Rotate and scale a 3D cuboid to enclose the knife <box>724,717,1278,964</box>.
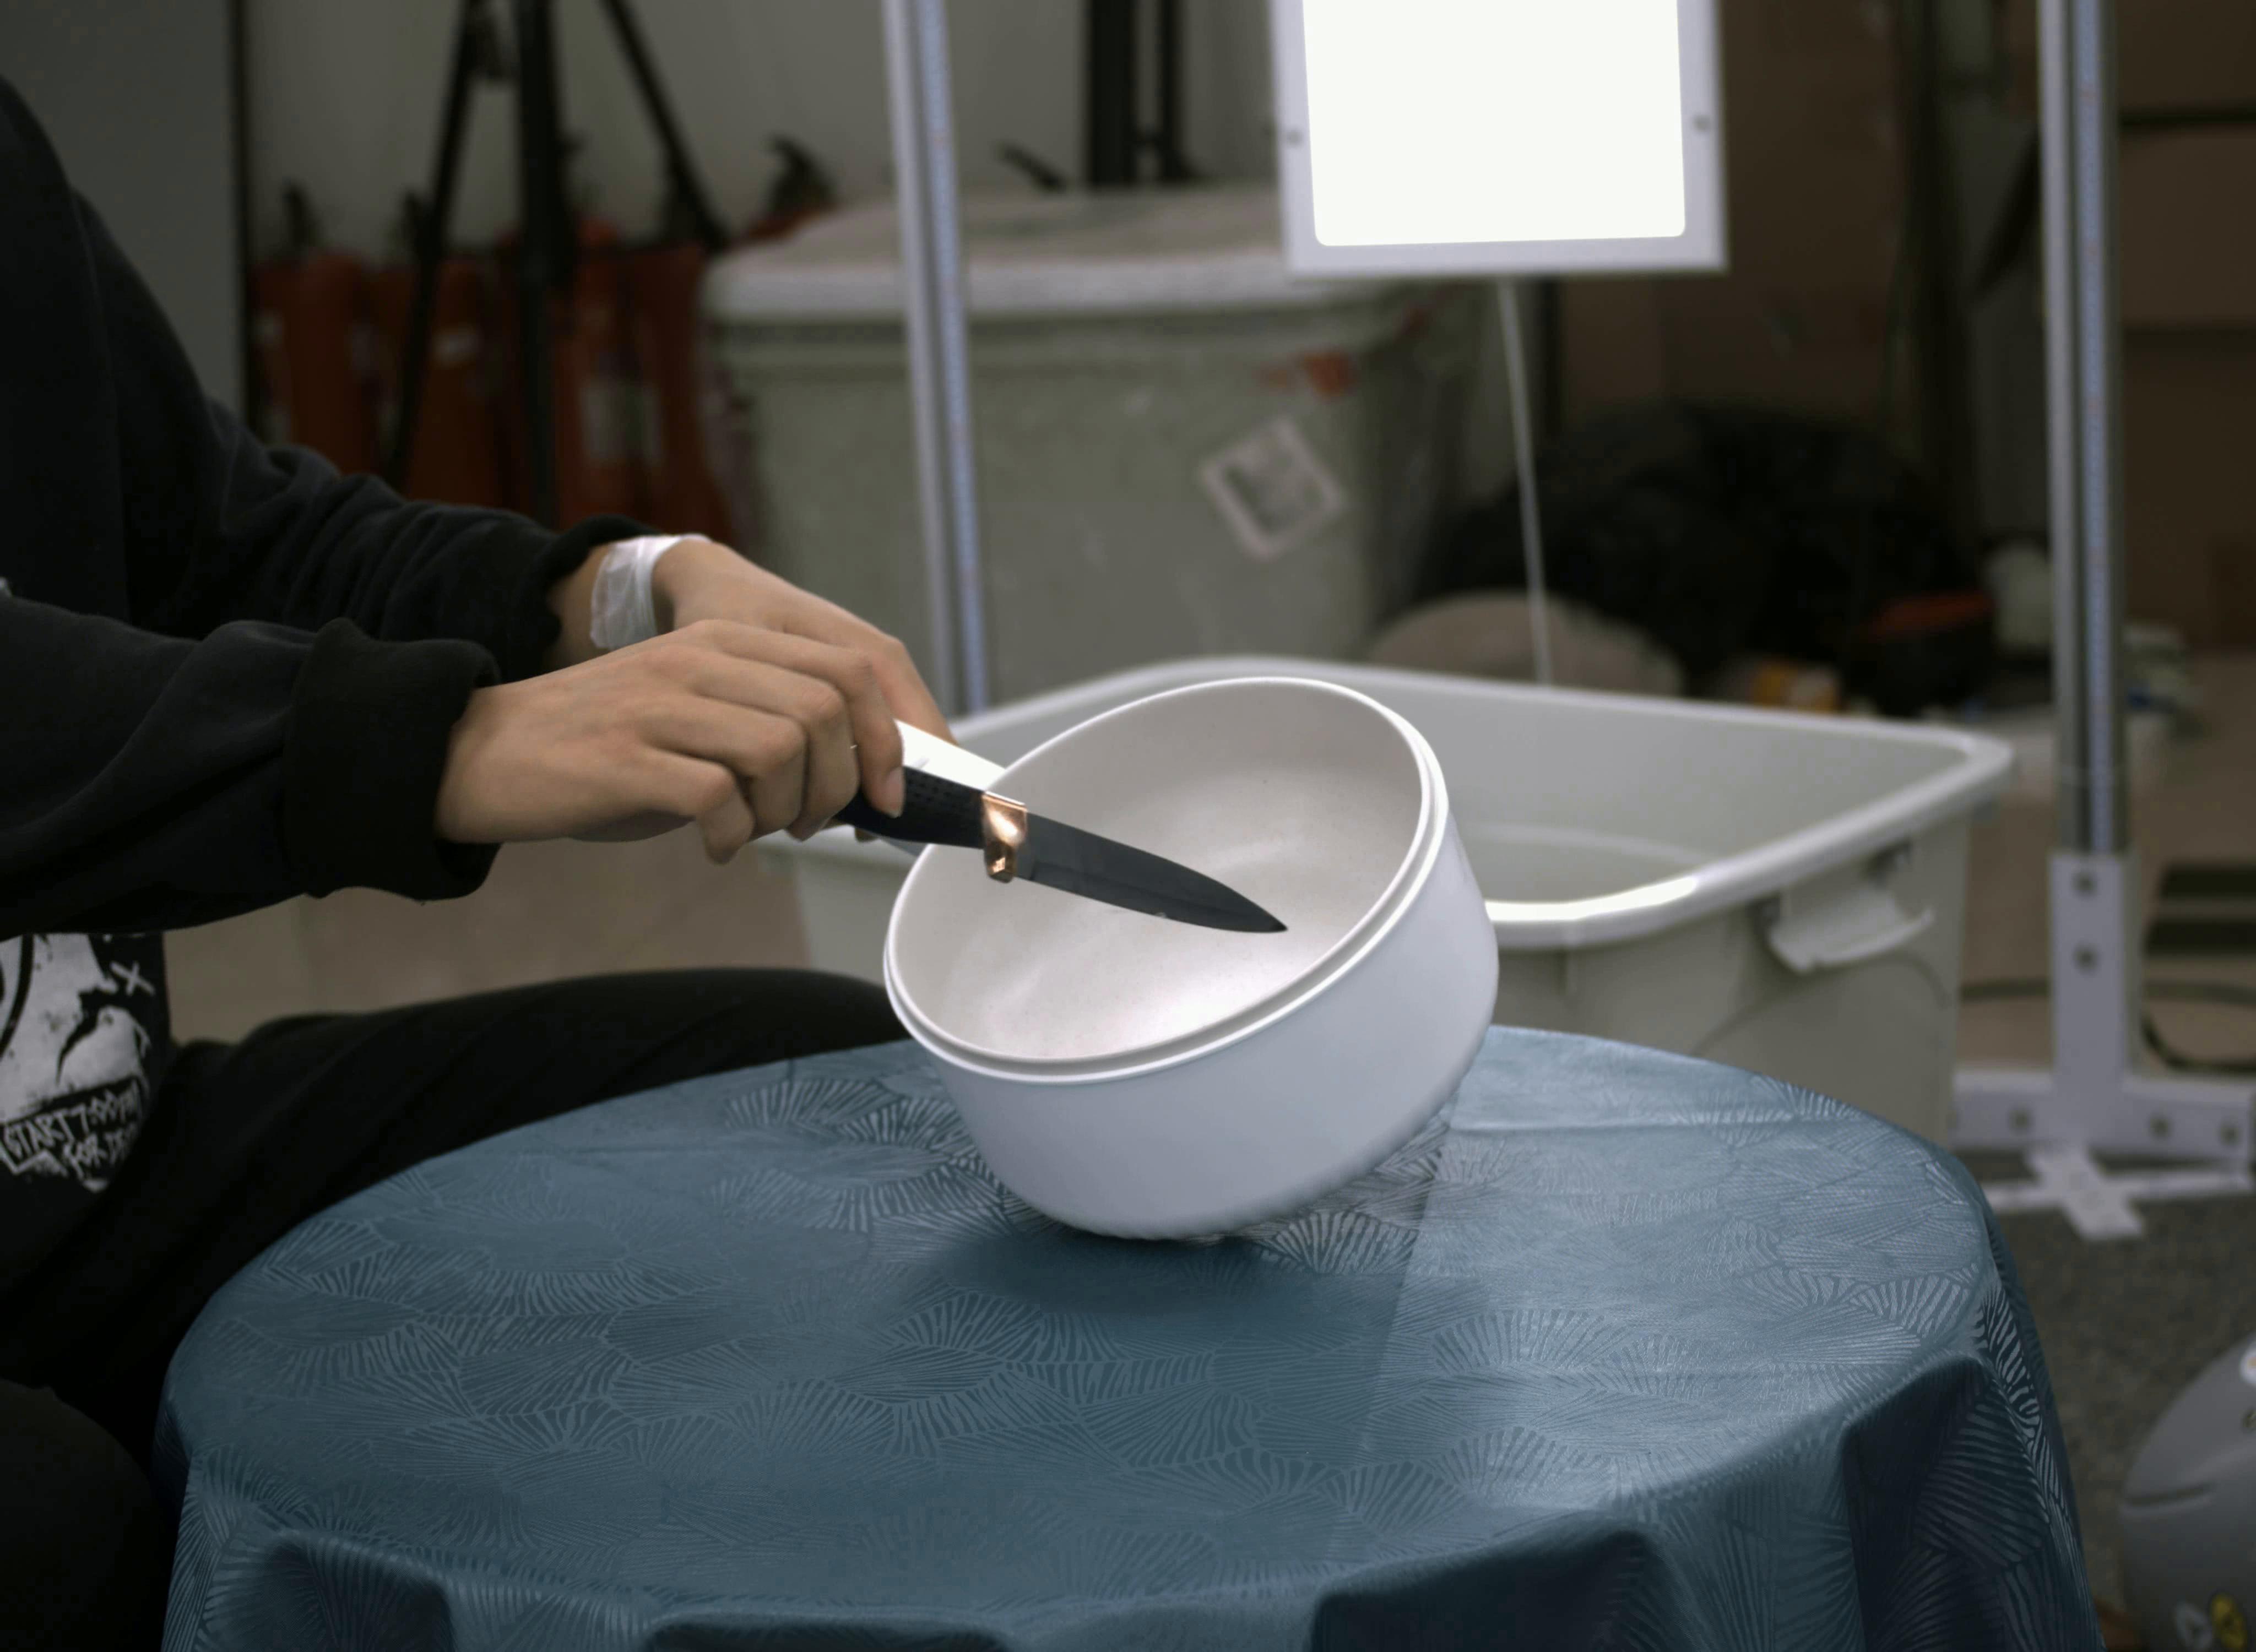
[{"bbox_3d":[-0.036,0.006,1.735,0.221,0.026,0.017,20,-12,-34],"label":"knife"}]

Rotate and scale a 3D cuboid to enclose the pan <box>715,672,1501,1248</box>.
[{"bbox_3d":[-0.019,0.032,1.936,0.198,0.101,0.361,-42,36,-20],"label":"pan"}]
